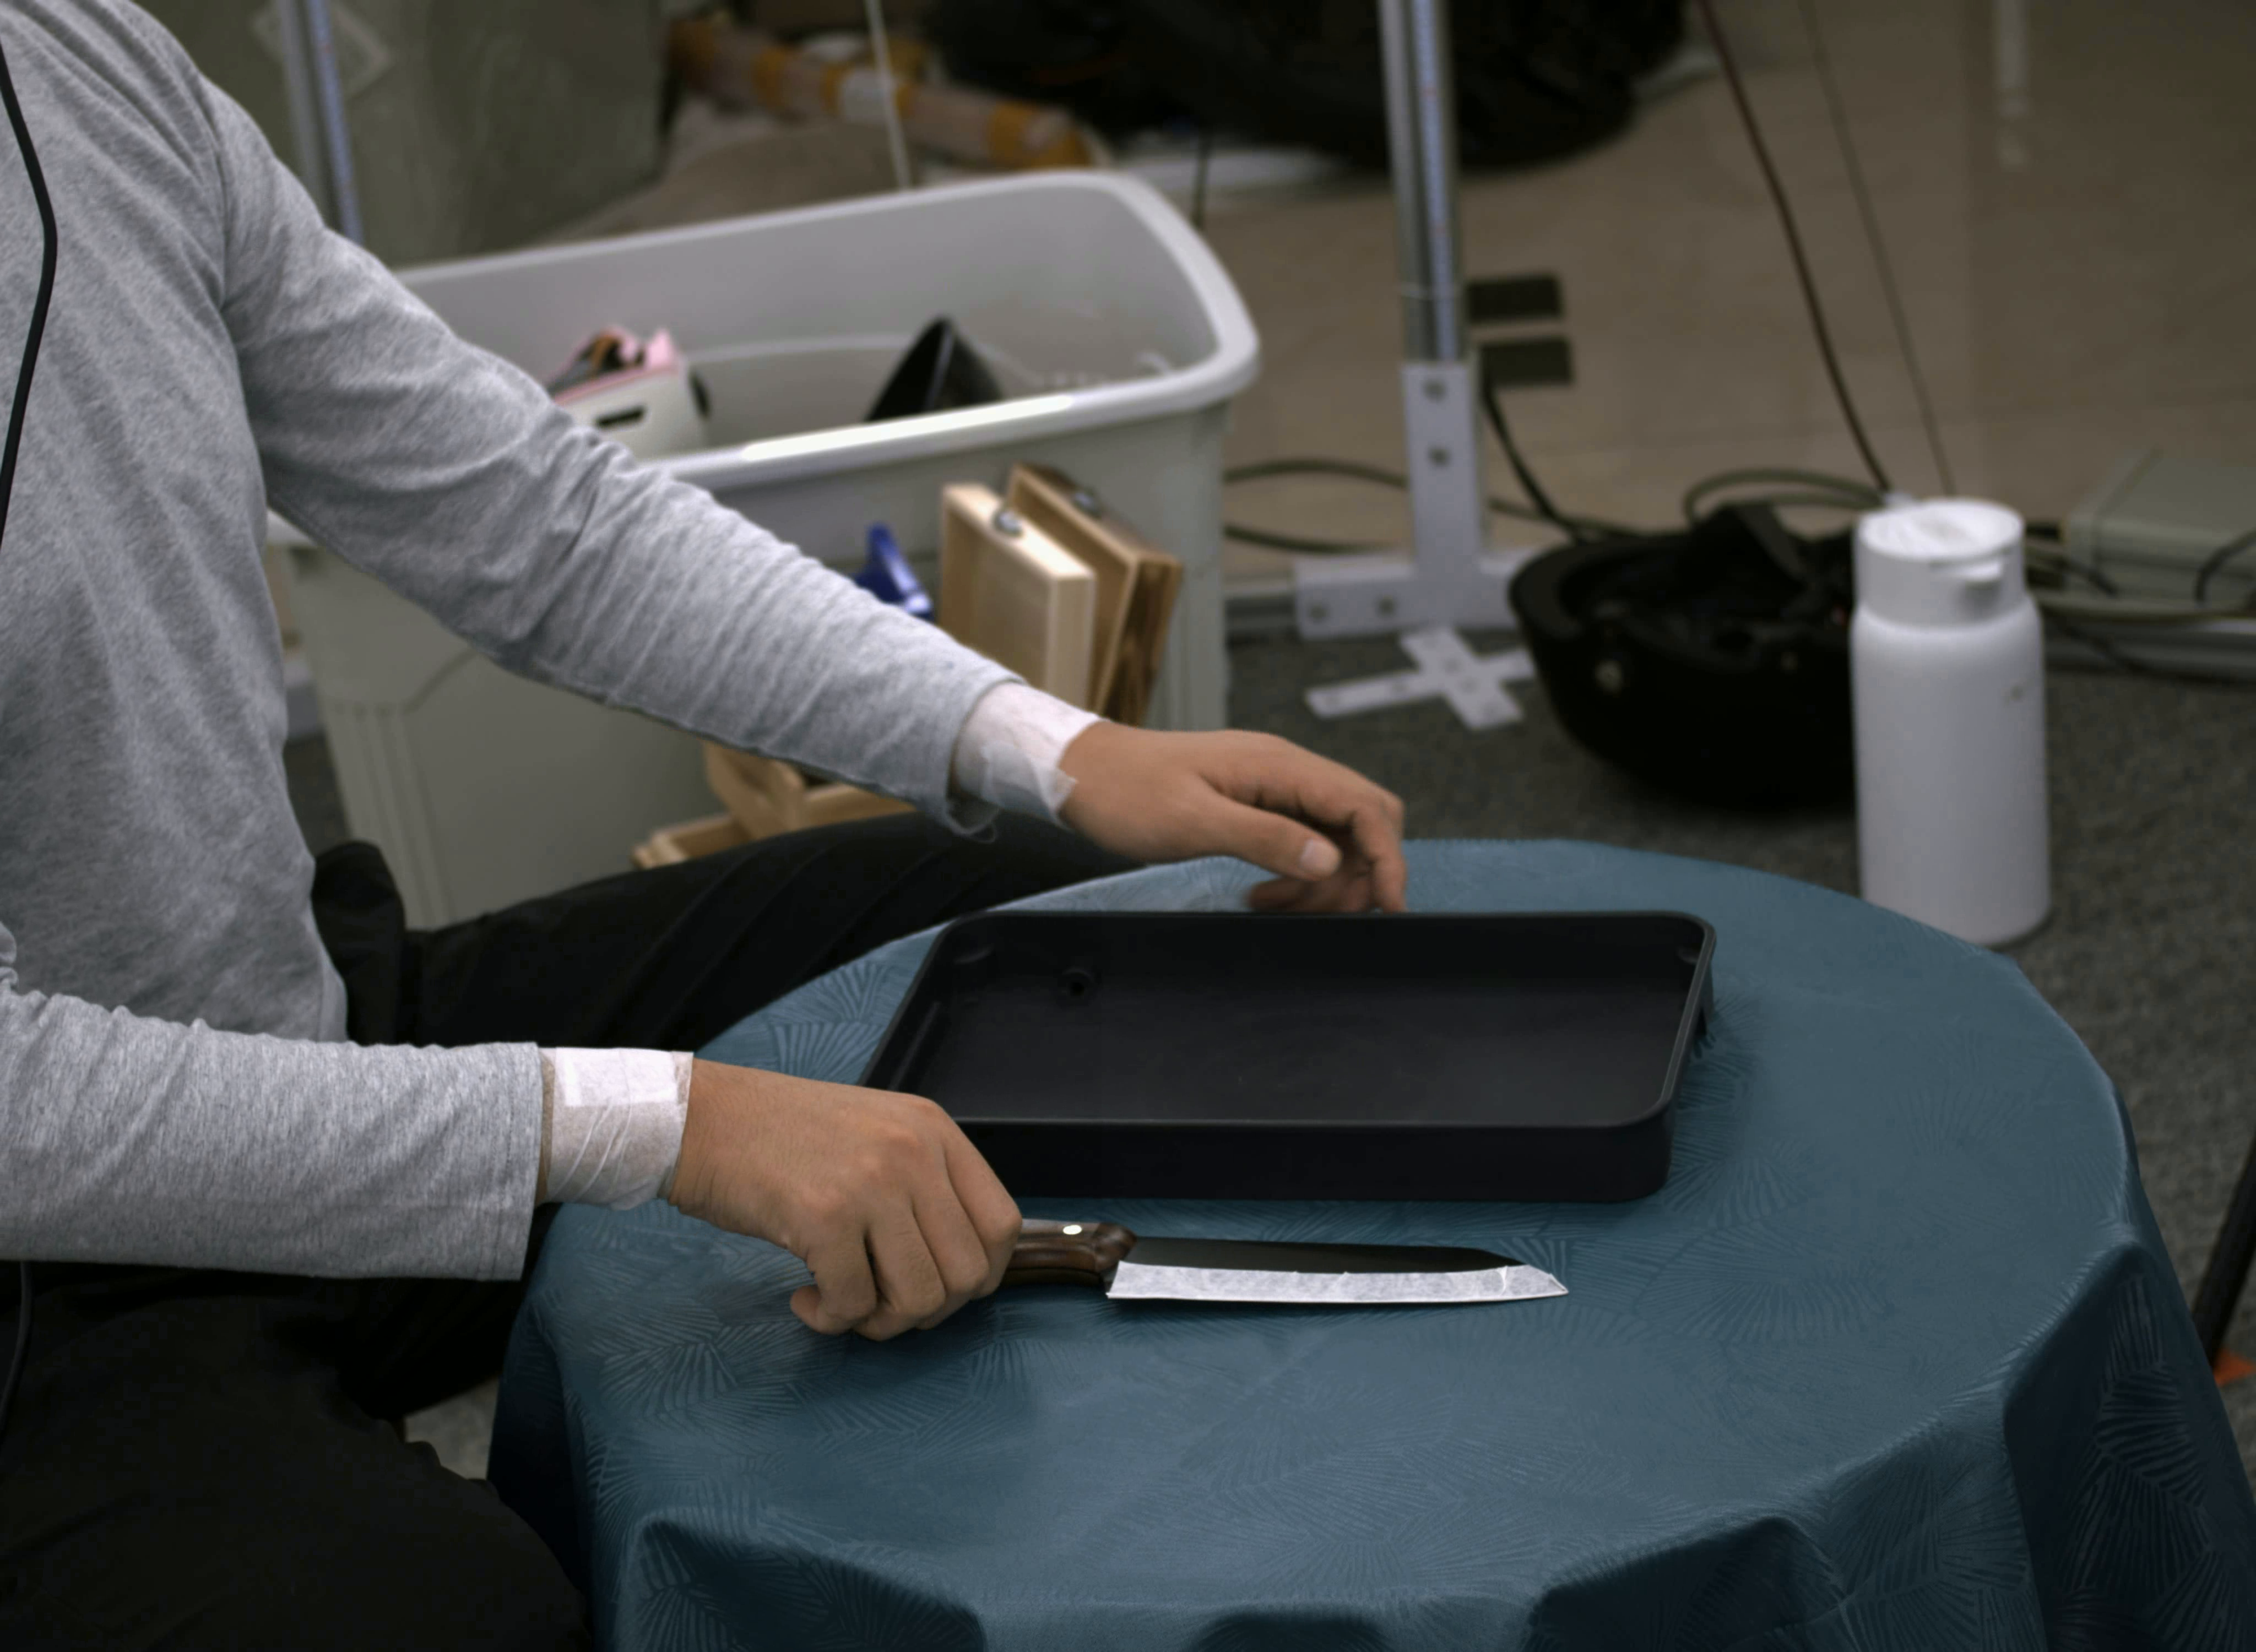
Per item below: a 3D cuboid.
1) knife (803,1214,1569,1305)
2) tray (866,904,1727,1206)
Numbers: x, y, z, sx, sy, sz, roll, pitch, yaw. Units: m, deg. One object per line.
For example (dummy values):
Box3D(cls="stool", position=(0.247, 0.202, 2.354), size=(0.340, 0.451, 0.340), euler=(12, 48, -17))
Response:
Box3D(cls="knife", position=(0.019, 0.162, 2.081), size=(0.288, 0.020, 0.049), euler=(2, 28, 12))
Box3D(cls="tray", position=(0.069, 0.088, 2.203), size=(0.317, 0.037, 0.181), euler=(-2, 25, 12))
